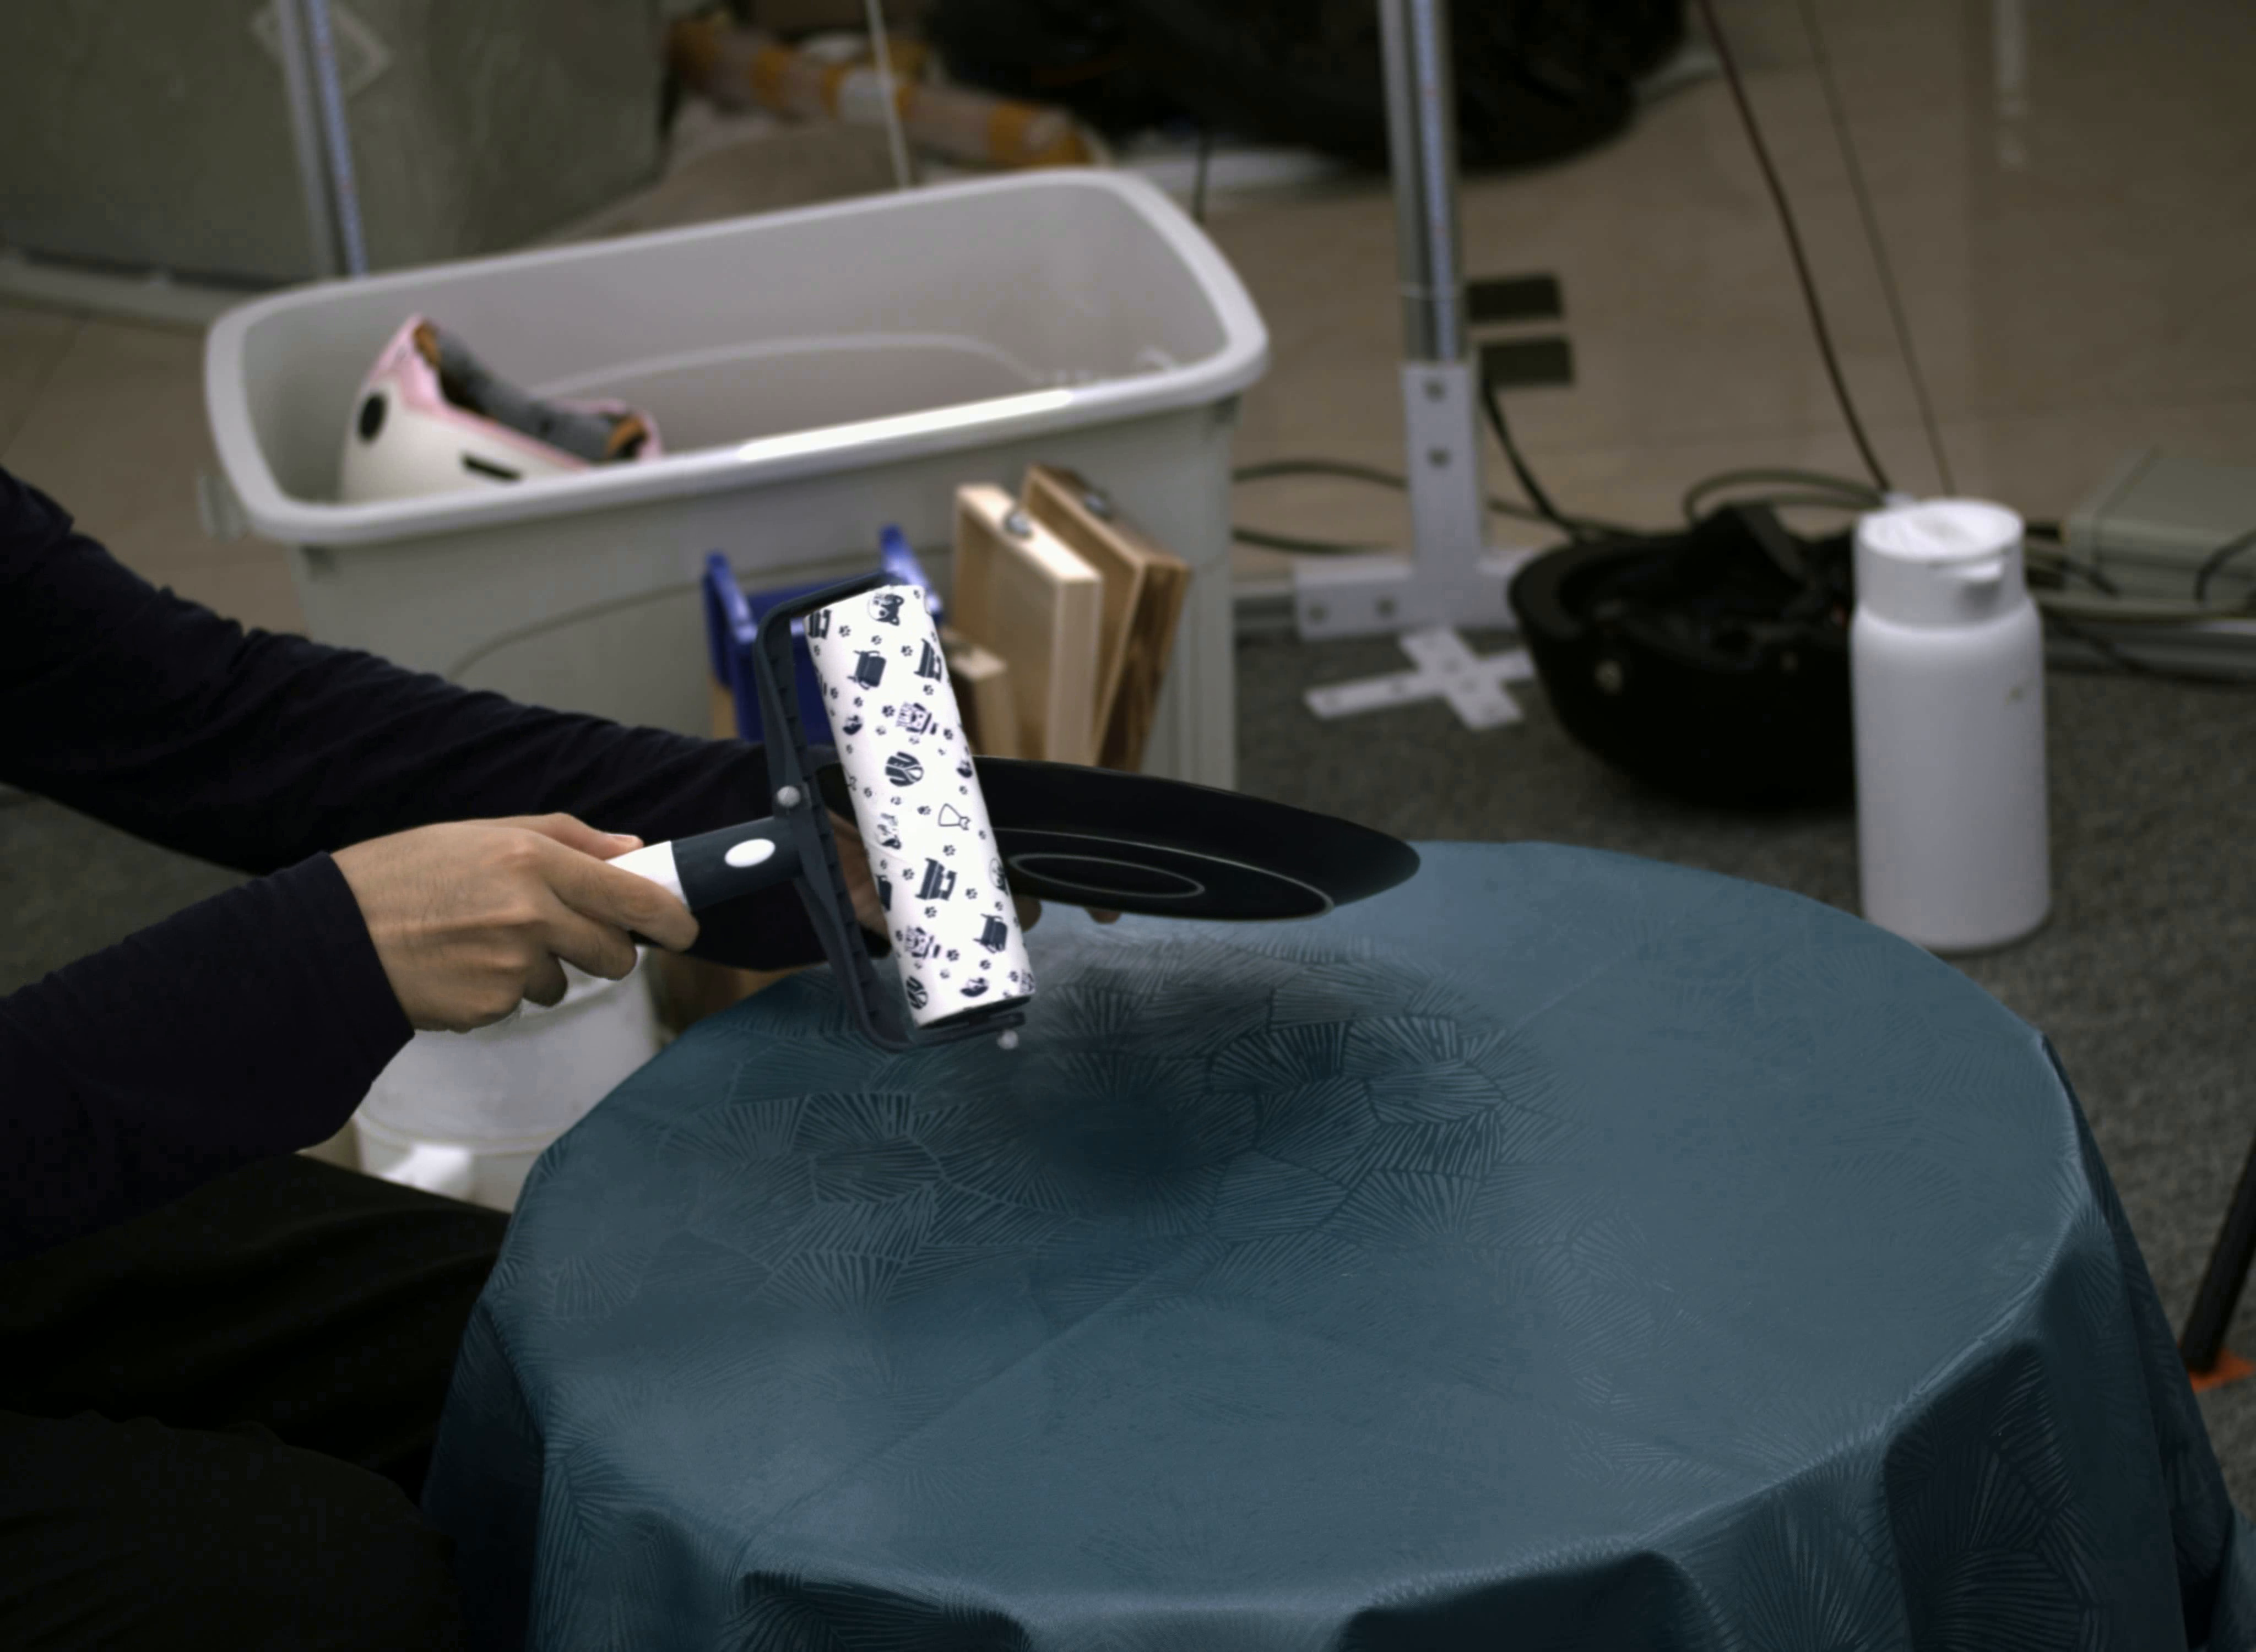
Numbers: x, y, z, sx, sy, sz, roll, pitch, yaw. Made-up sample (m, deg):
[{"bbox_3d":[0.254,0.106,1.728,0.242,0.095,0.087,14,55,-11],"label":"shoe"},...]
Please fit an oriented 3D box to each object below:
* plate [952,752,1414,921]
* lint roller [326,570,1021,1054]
[{"bbox_3d":[-0.009,0.008,2.222,0.244,0.023,0.245,8,-9,1],"label":"plate"},{"bbox_3d":[-0.177,0.020,2.096,0.246,0.176,0.050,-16,-4,-3],"label":"lint roller"}]
